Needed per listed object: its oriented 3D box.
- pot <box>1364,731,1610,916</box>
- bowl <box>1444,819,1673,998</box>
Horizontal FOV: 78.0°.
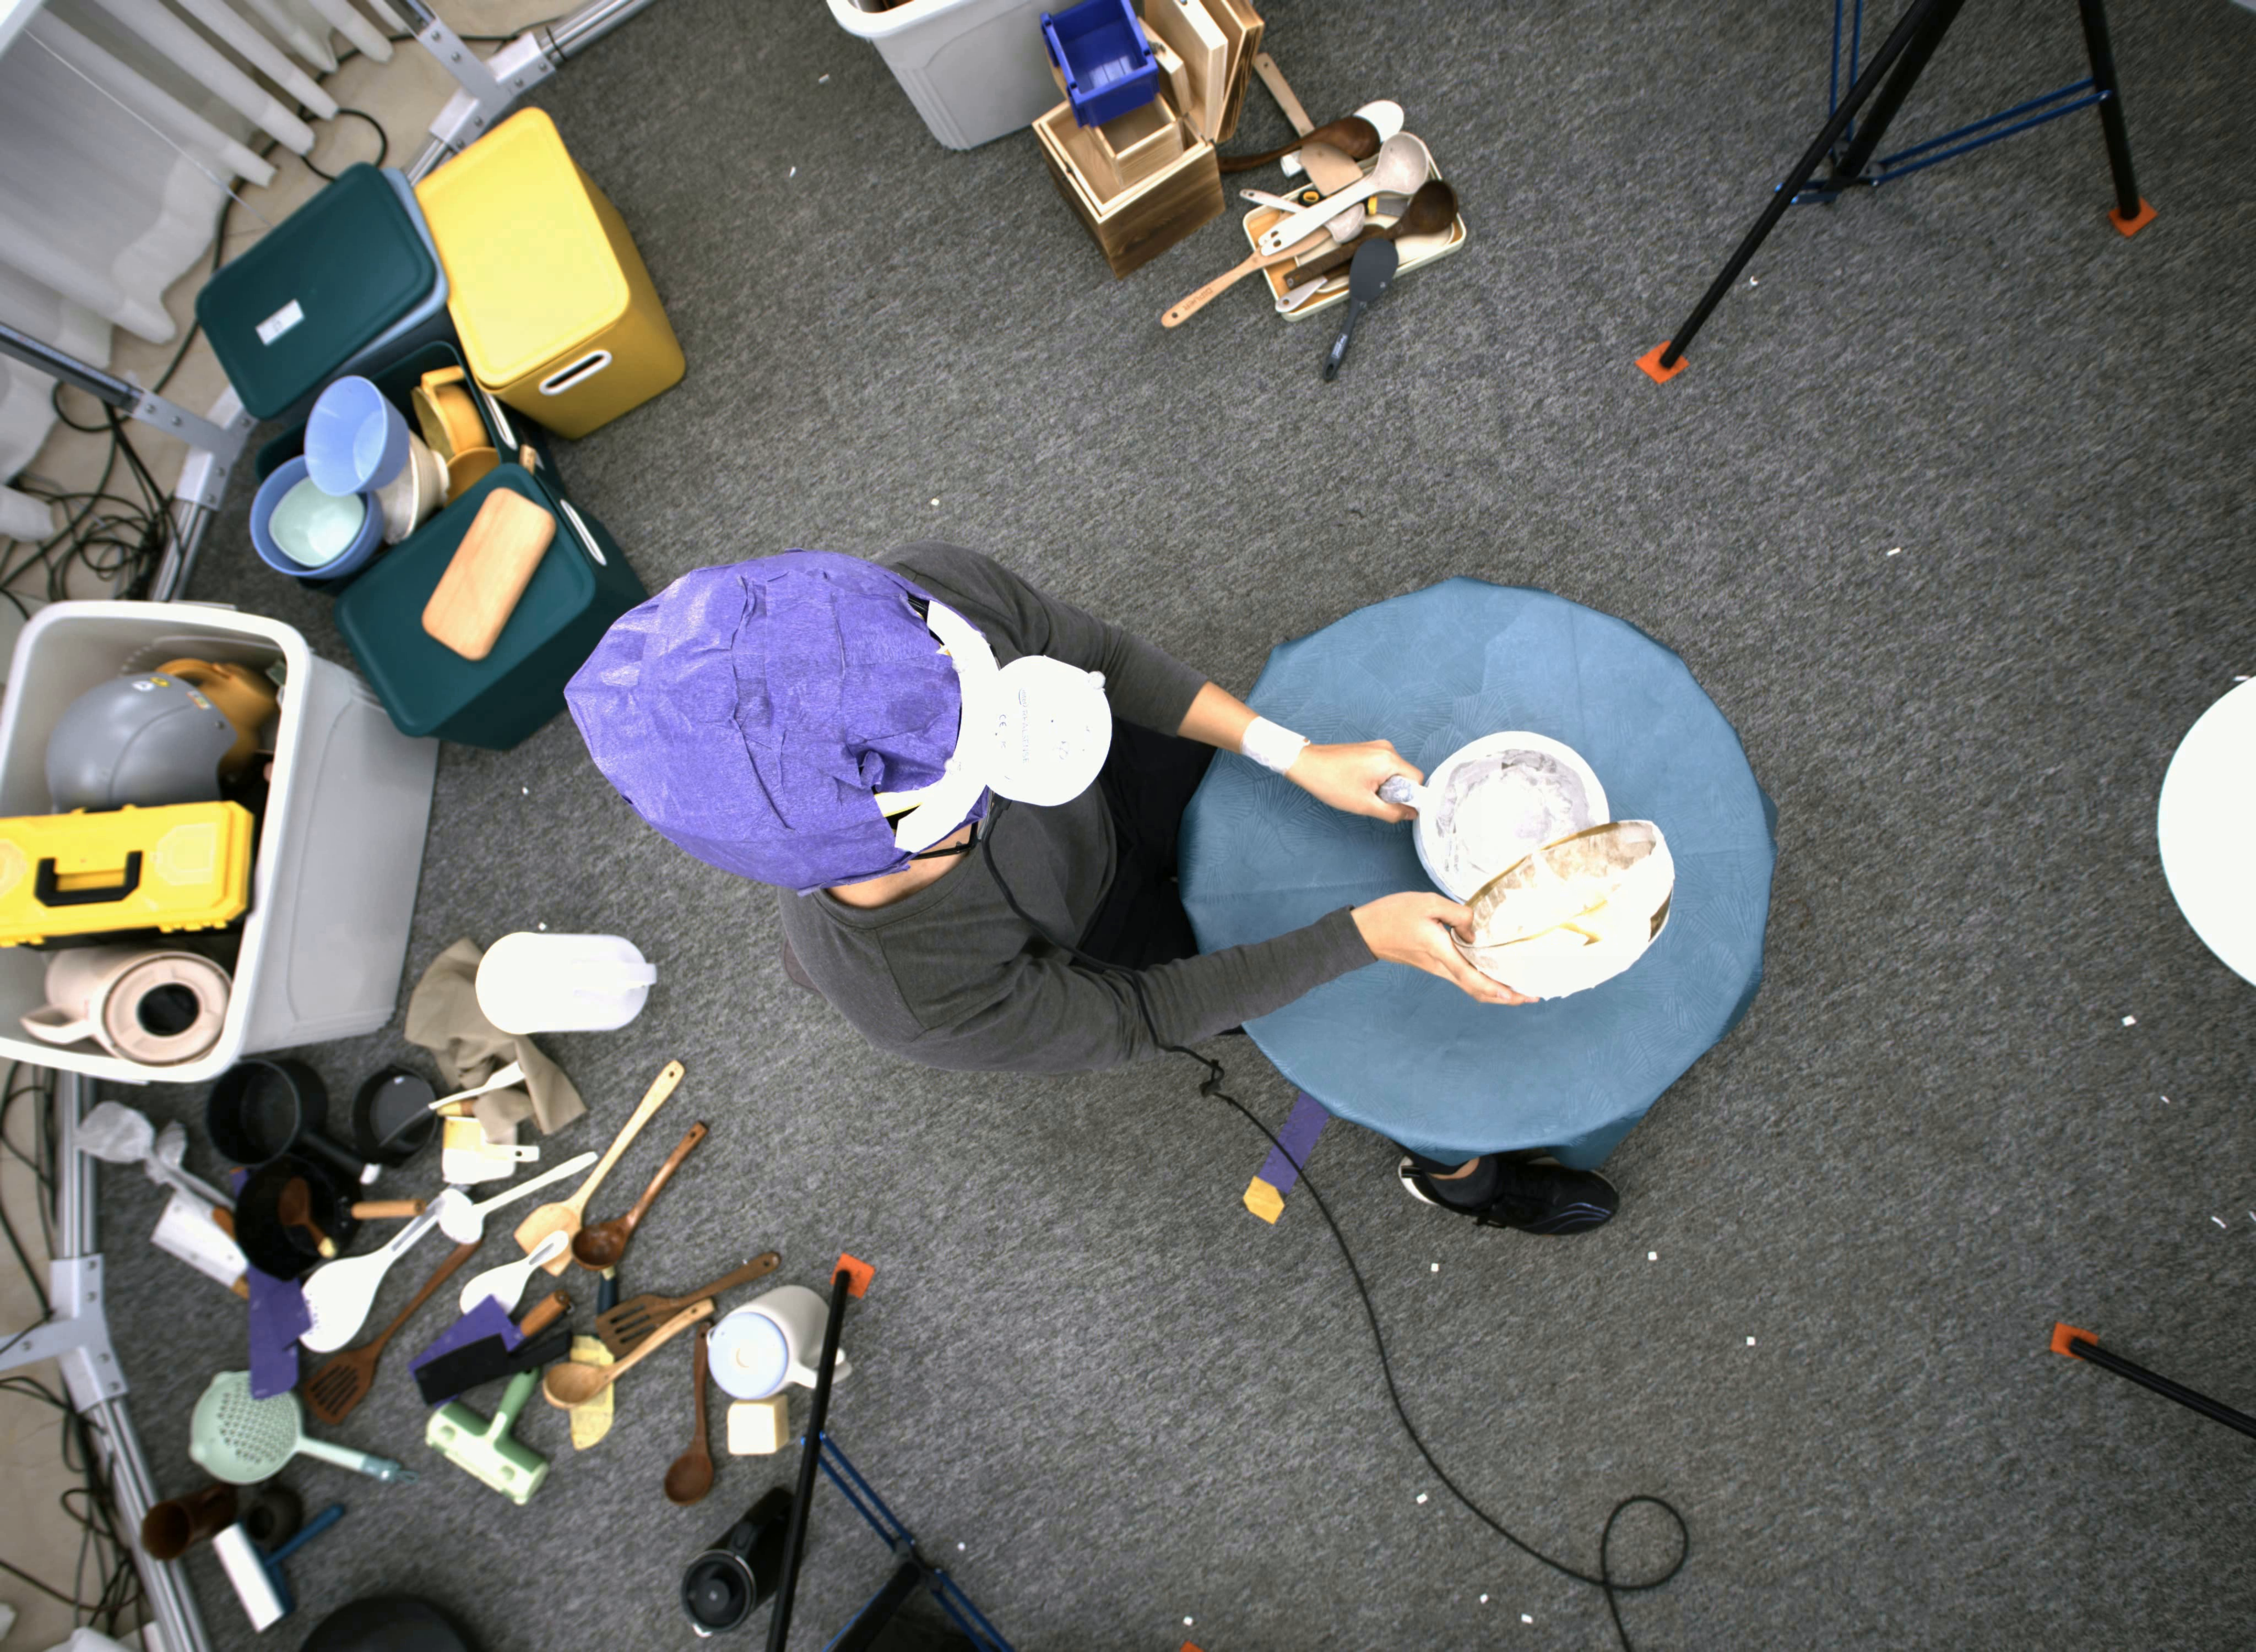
[{"bbox_3d":[0.351,-0.010,1.374,0.234,0.136,0.179,17,92,8],"label":"pot"},{"bbox_3d":[0.394,0.086,1.219,0.216,0.212,0.095,-34,100,6],"label":"bowl"}]
